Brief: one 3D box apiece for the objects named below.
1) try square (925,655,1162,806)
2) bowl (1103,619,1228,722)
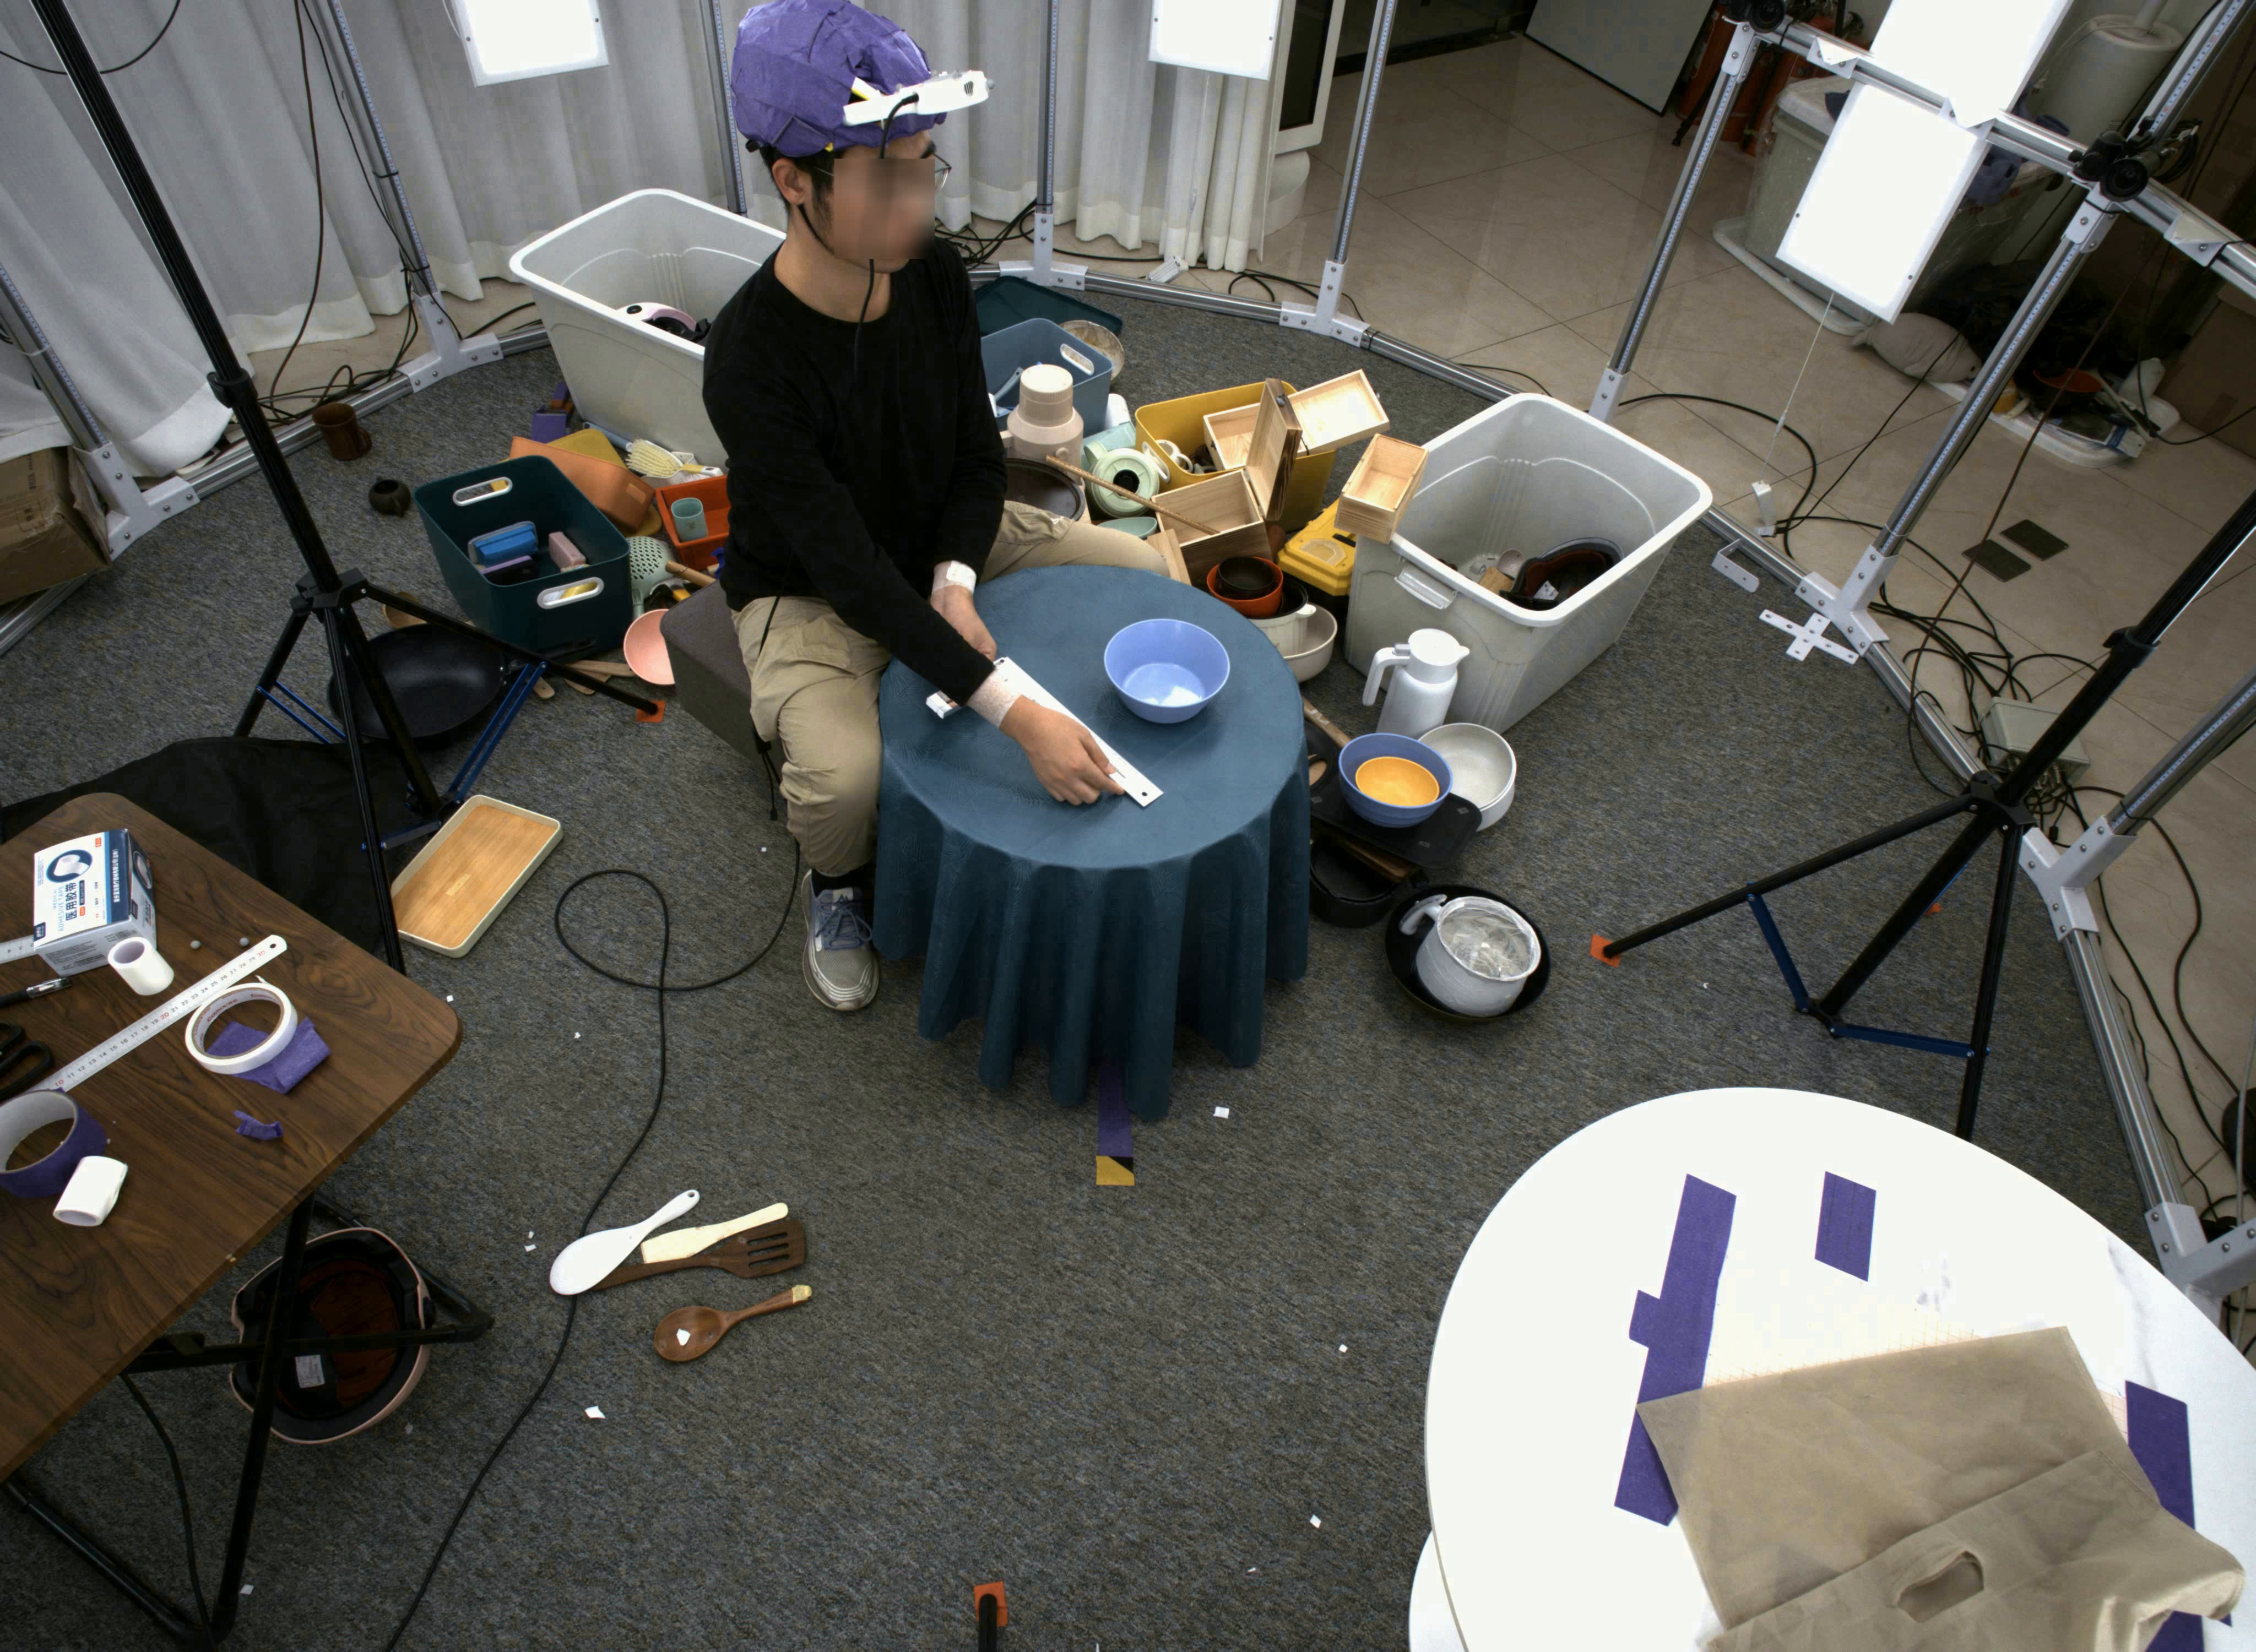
[{"bbox_3d":[-0.115,-0.108,1.725,0.153,0.015,0.317,-34,66,-32],"label":"try square"},{"bbox_3d":[0.051,-0.210,1.811,0.176,0.068,0.180,2,50,-2],"label":"bowl"}]
